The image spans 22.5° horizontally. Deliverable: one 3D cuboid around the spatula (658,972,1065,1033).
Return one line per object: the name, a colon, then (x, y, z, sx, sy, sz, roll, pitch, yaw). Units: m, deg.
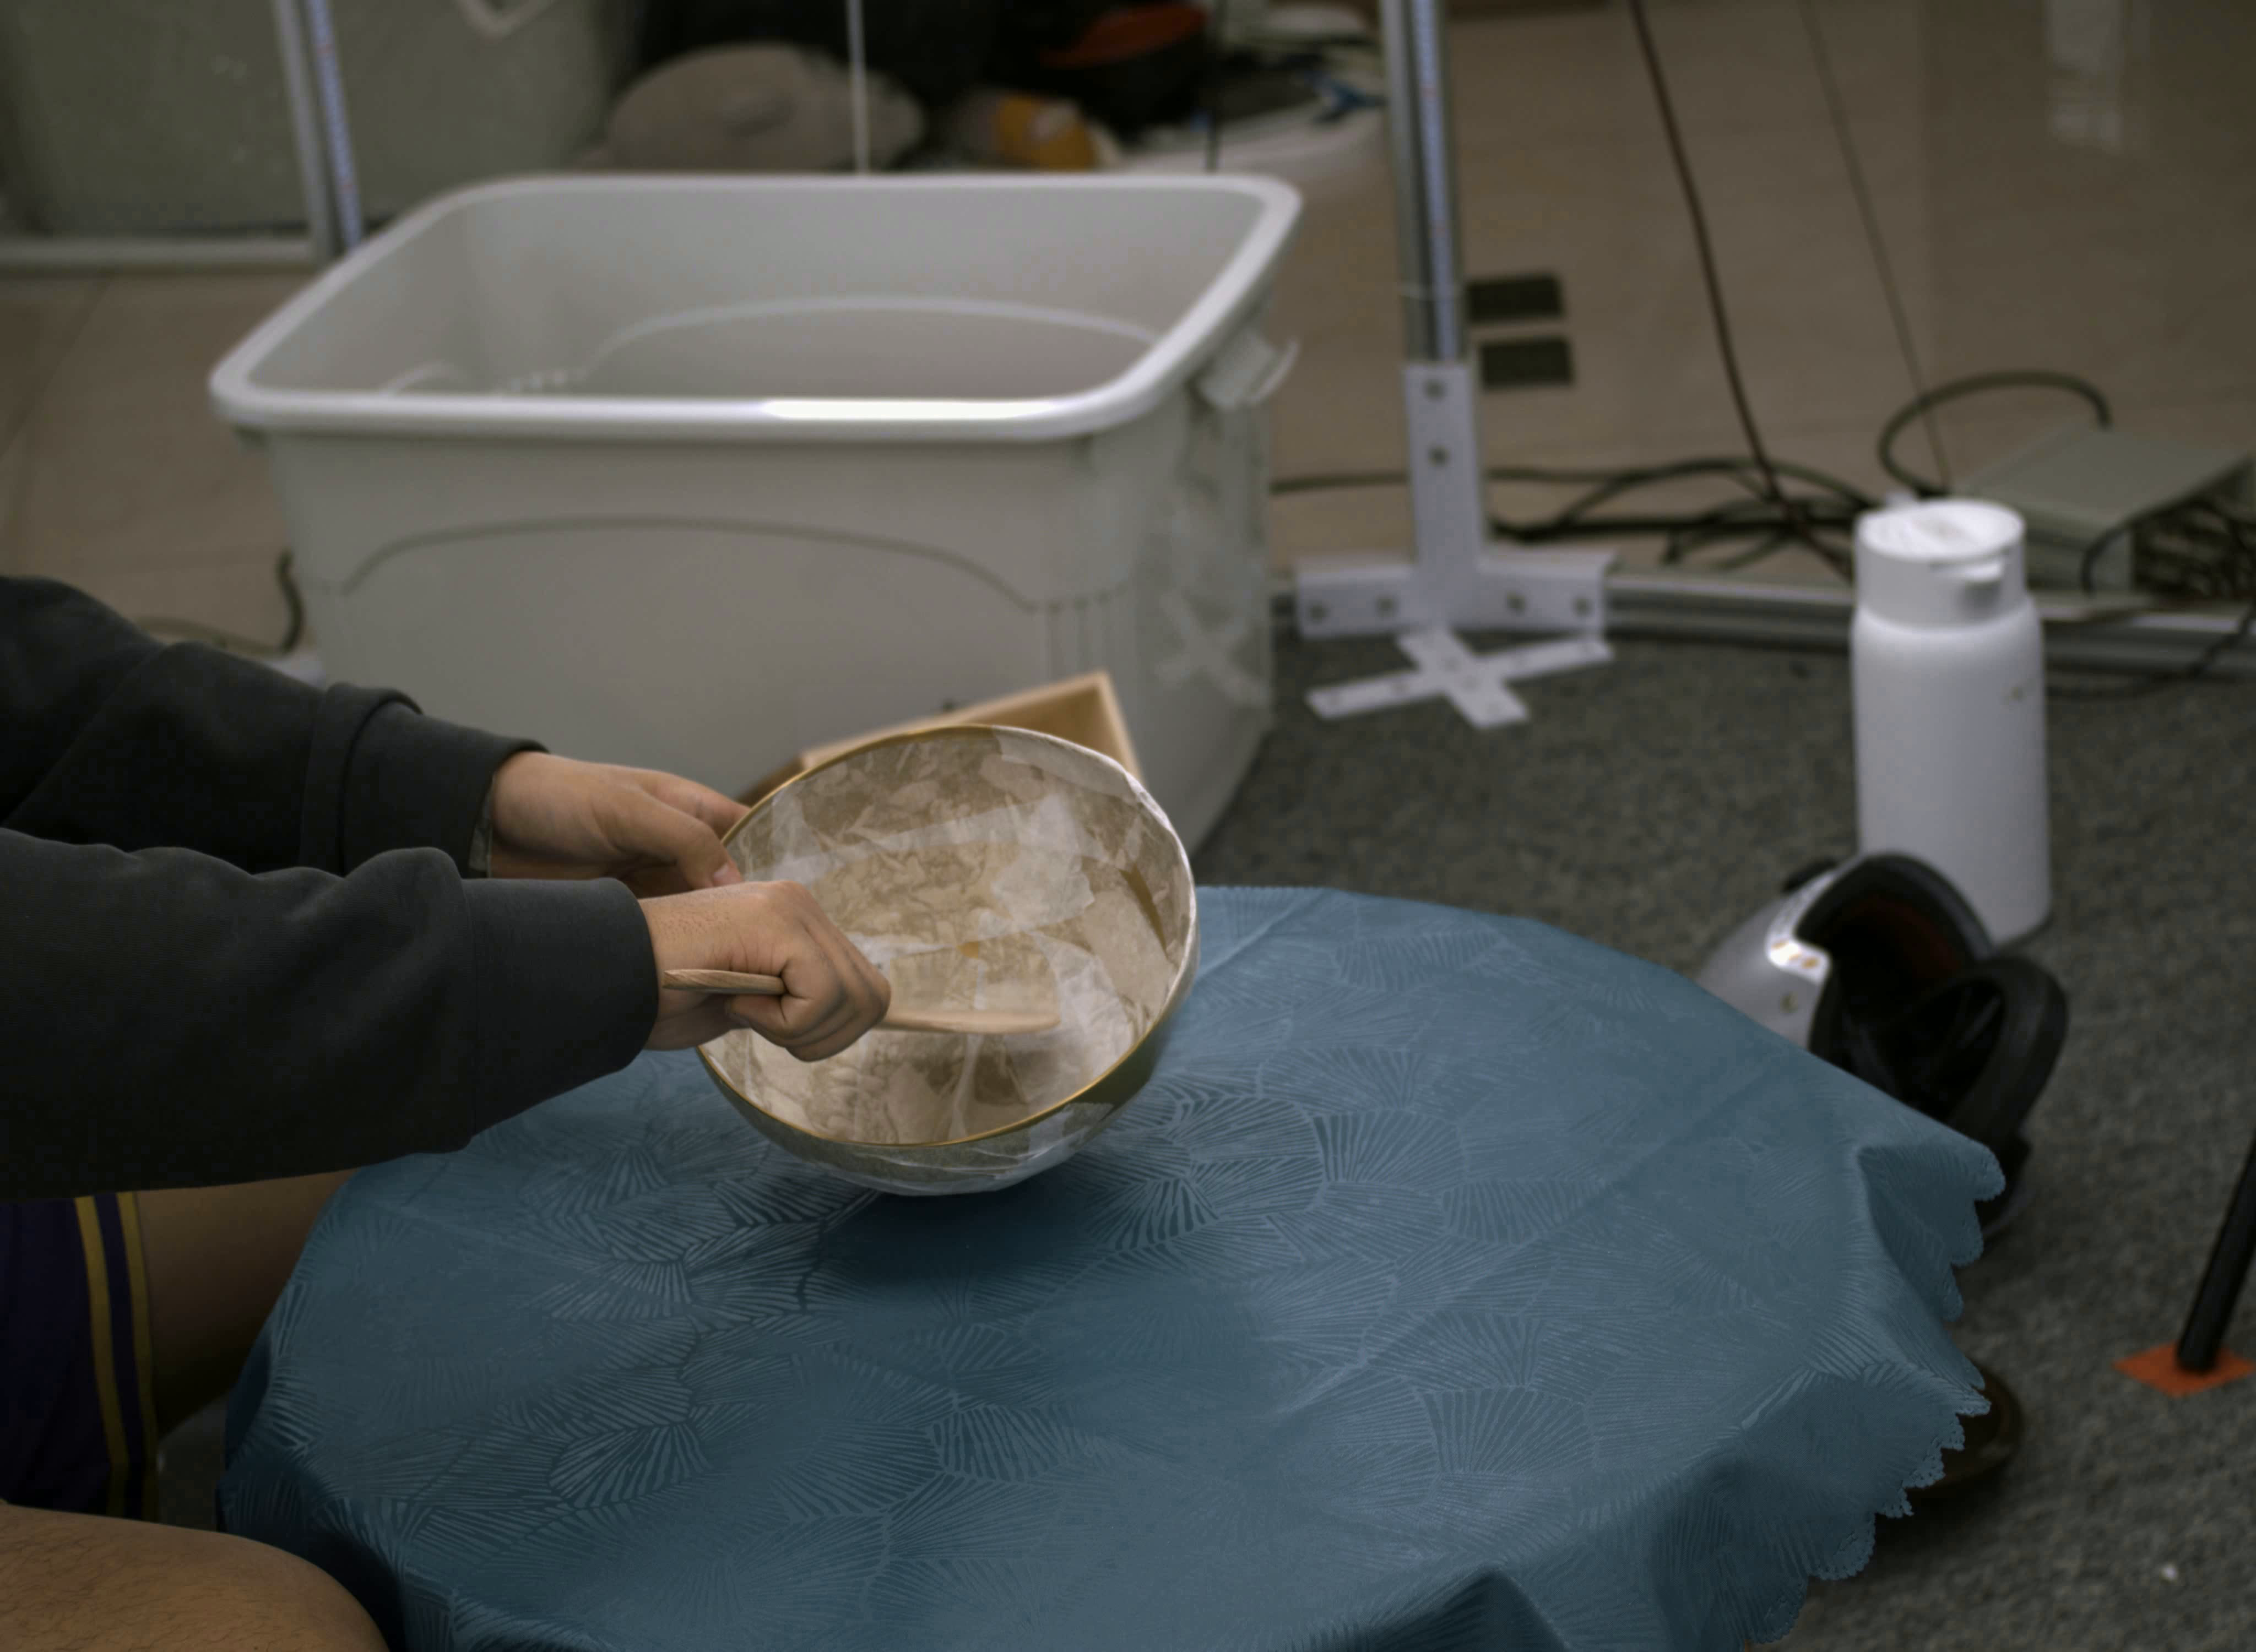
spatula: (-0.105, 0.063, 2.062, 0.080, 0.016, 0.328, 2, -5, 17)

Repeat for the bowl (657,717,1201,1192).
bowl: (-0.072, 0.064, 2.182, 0.214, 0.096, 0.211, -5, 54, 7)
